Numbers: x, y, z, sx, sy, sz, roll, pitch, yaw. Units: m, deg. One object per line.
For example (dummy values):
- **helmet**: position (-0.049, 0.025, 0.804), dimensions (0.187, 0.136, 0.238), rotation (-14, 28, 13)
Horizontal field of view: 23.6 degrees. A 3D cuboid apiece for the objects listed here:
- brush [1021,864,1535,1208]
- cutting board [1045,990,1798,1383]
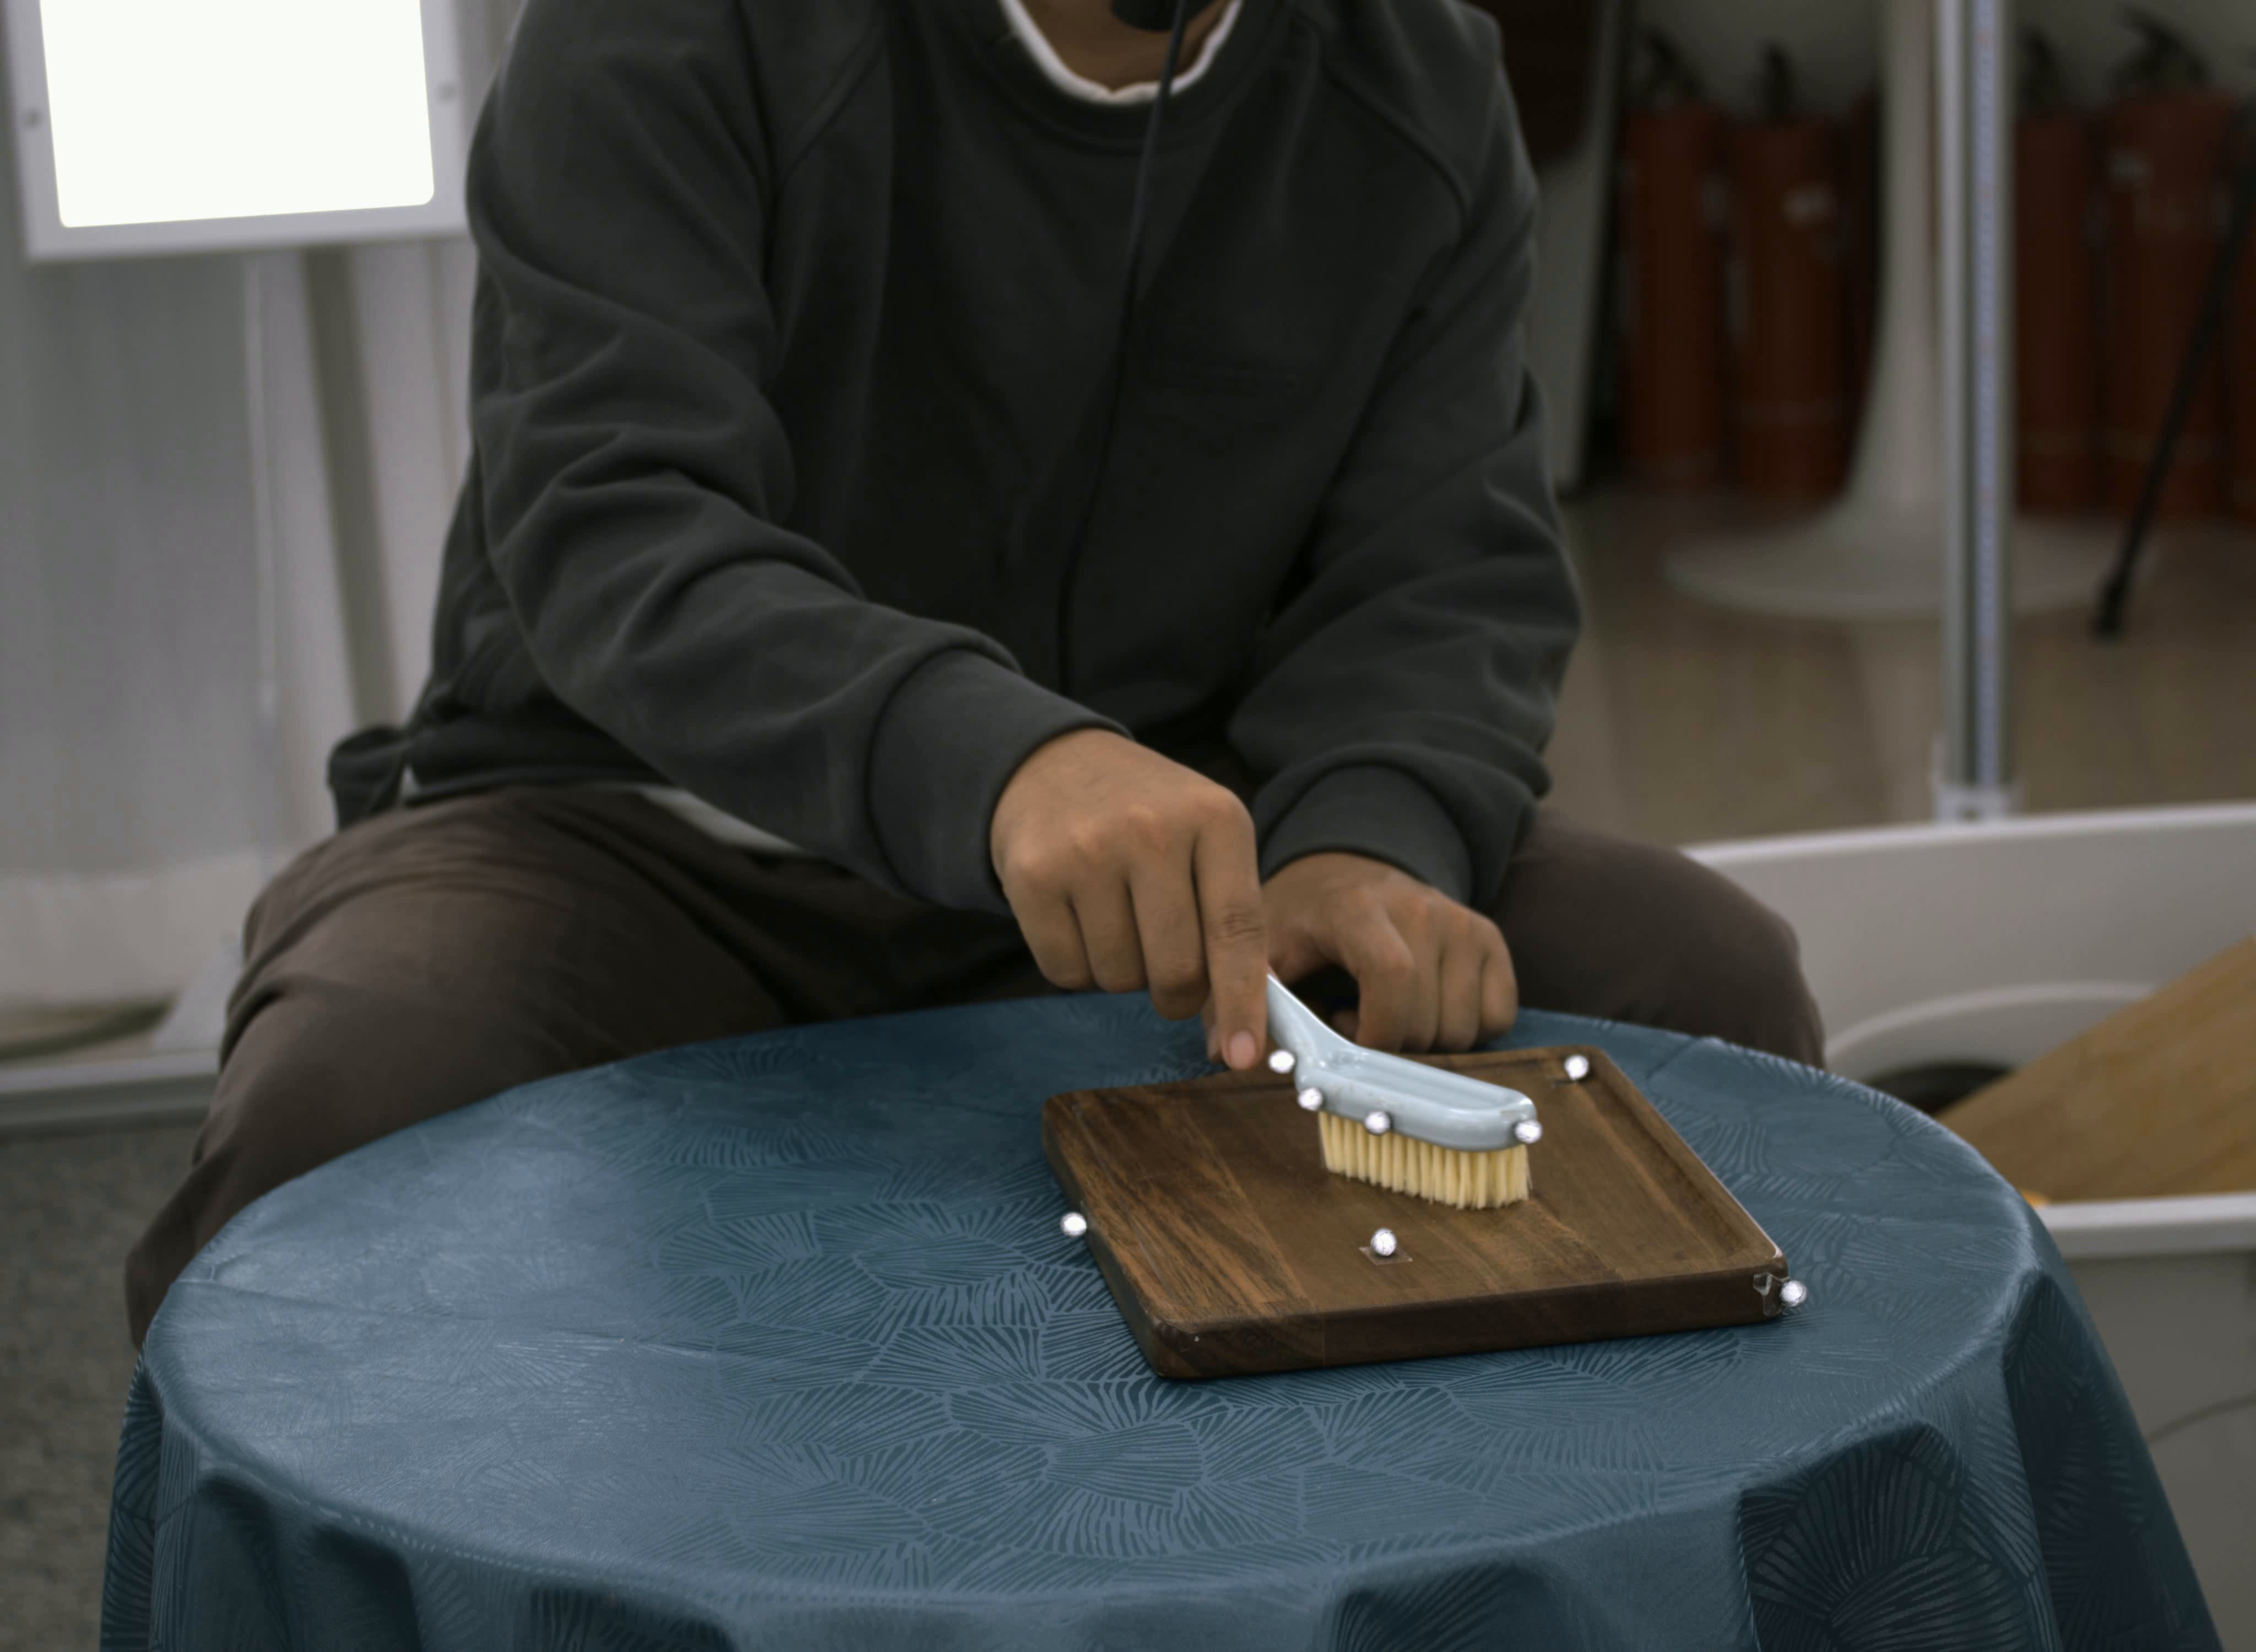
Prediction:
- **brush**: position (0.044, 0.067, 1.759), dimensions (0.037, 0.050, 0.231), rotation (-16, 33, -40)
- **cutting board**: position (0.080, 0.108, 1.762), dimensions (0.198, 0.023, 0.354), rotation (-5, 14, -7)
